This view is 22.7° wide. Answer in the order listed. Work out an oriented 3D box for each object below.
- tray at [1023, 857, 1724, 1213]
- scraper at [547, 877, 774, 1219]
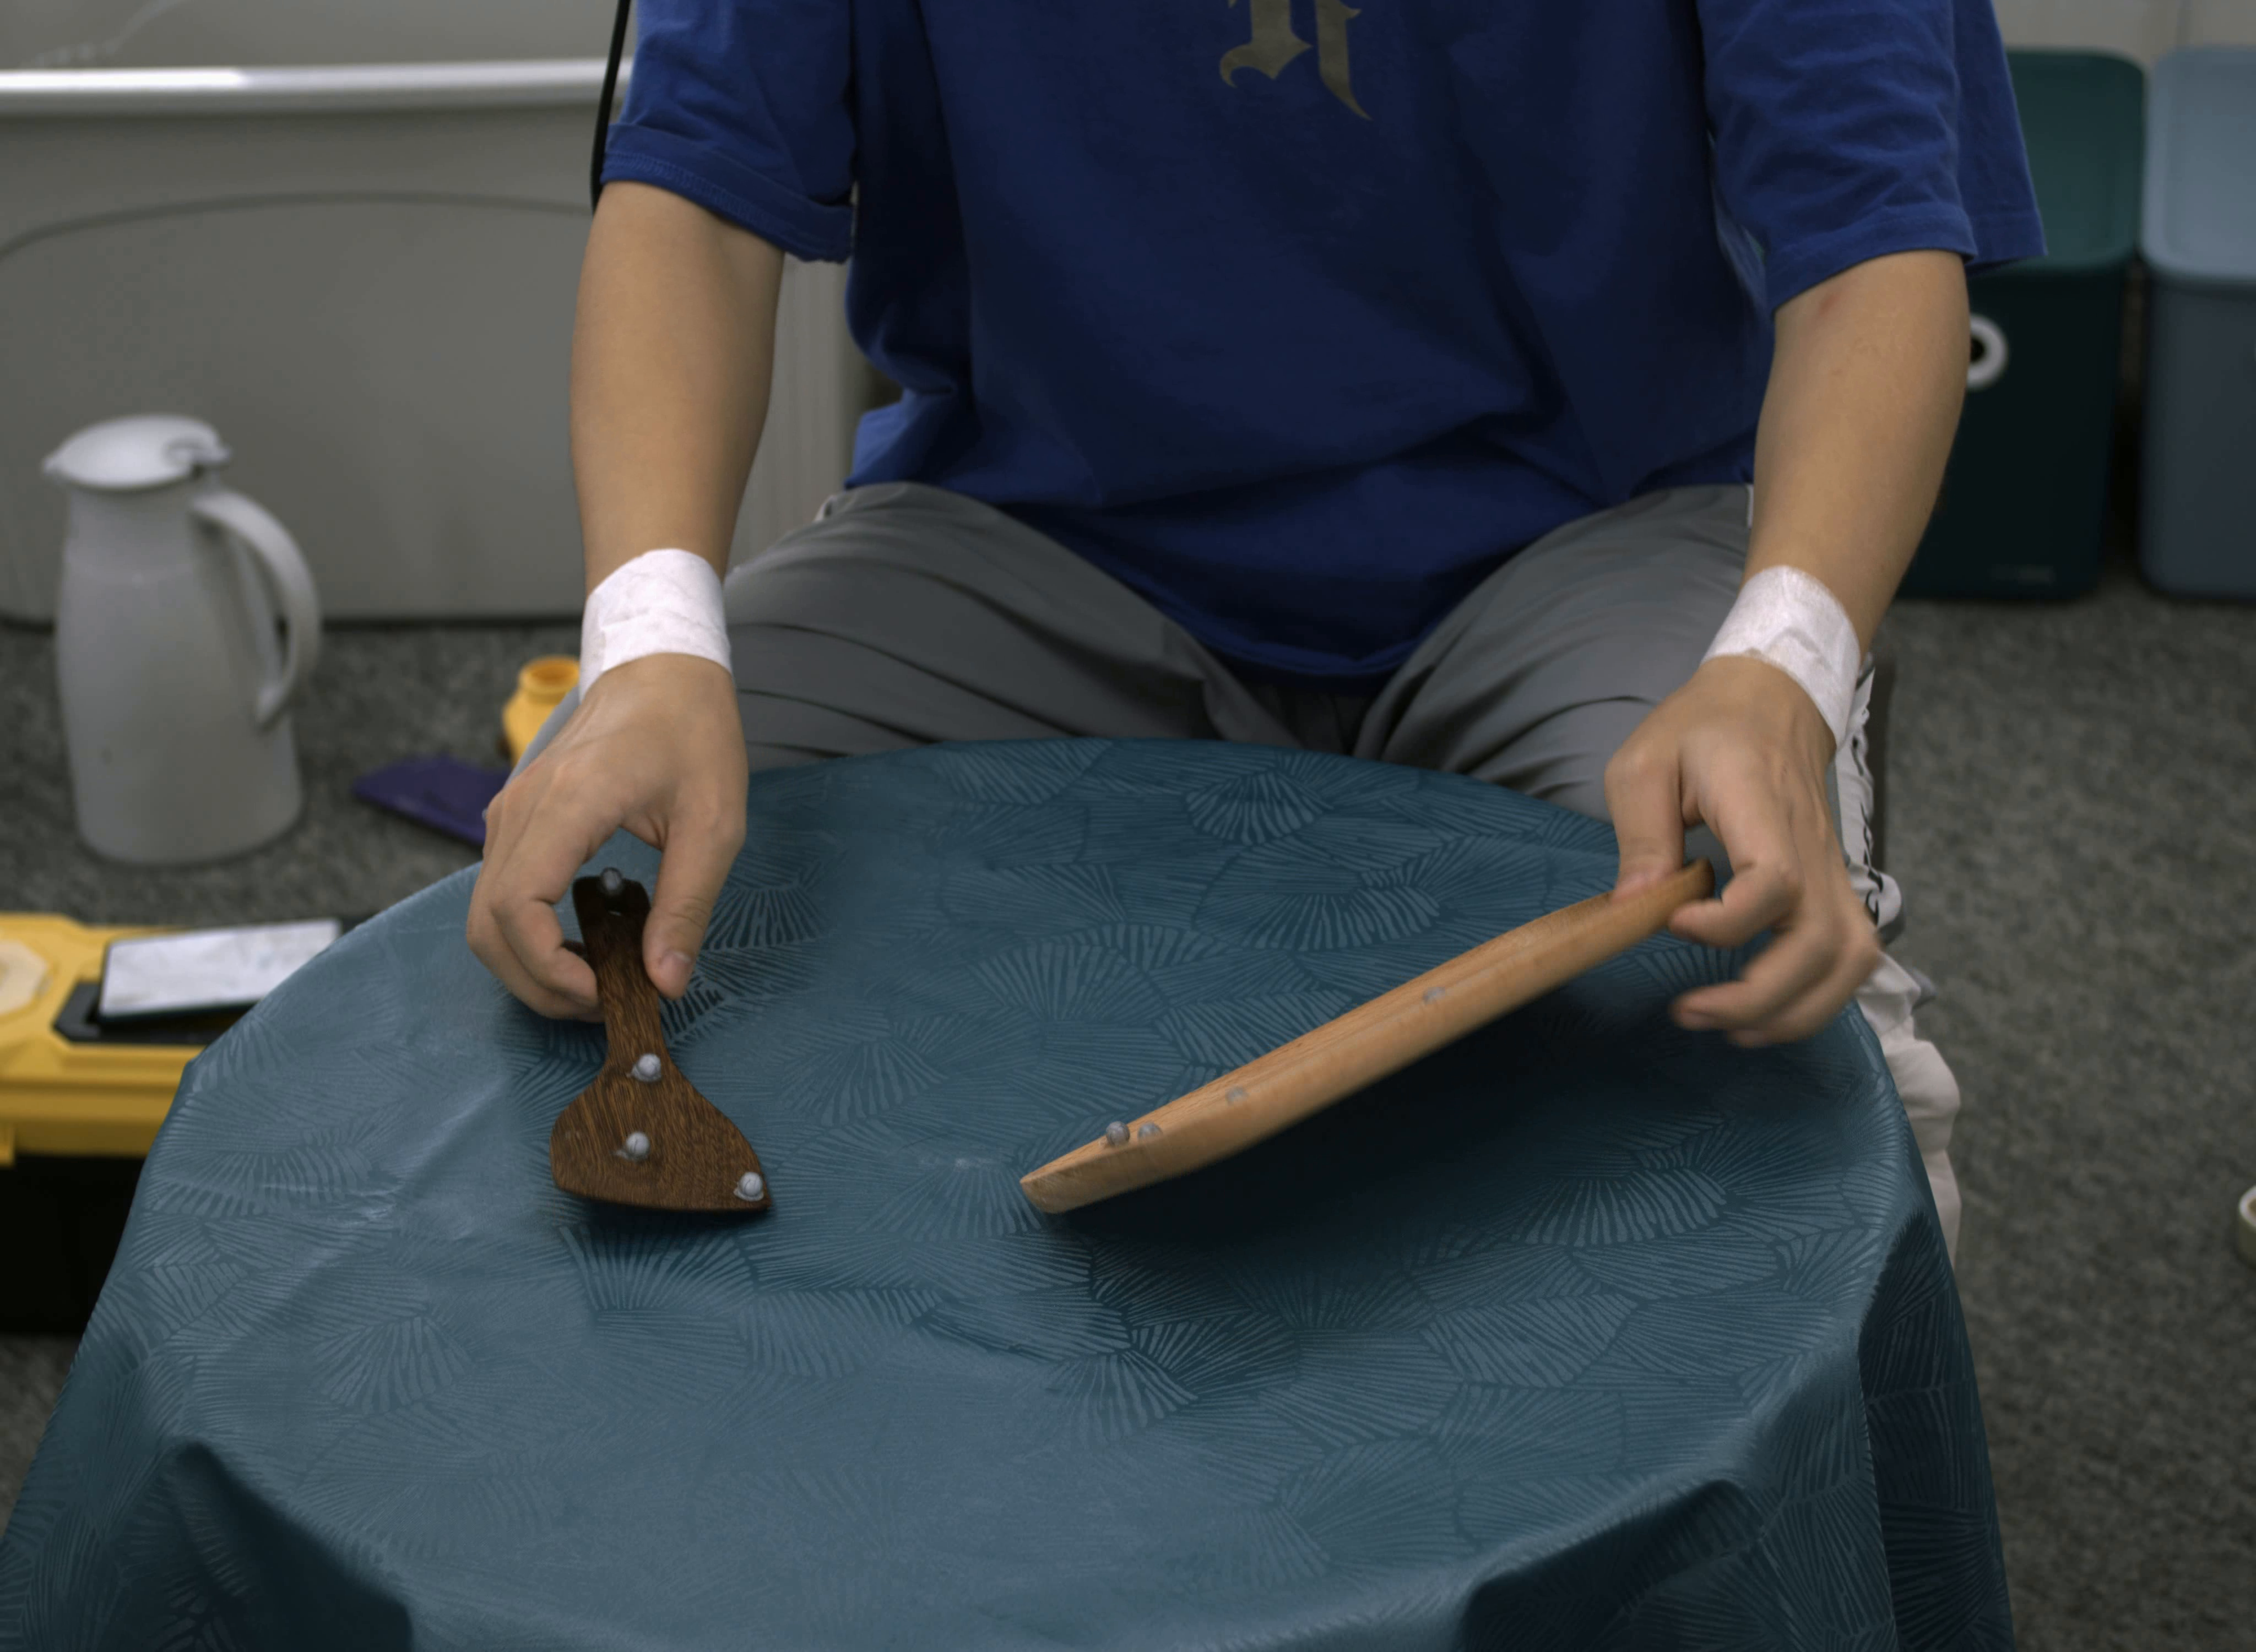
[{"bbox_3d":[0.084,0.070,1.870,0.253,0.023,0.129,-24,4,-34],"label":"tray"},{"bbox_3d":[-0.168,0.075,1.930,0.076,0.010,0.214,5,30,-13],"label":"scraper"}]
